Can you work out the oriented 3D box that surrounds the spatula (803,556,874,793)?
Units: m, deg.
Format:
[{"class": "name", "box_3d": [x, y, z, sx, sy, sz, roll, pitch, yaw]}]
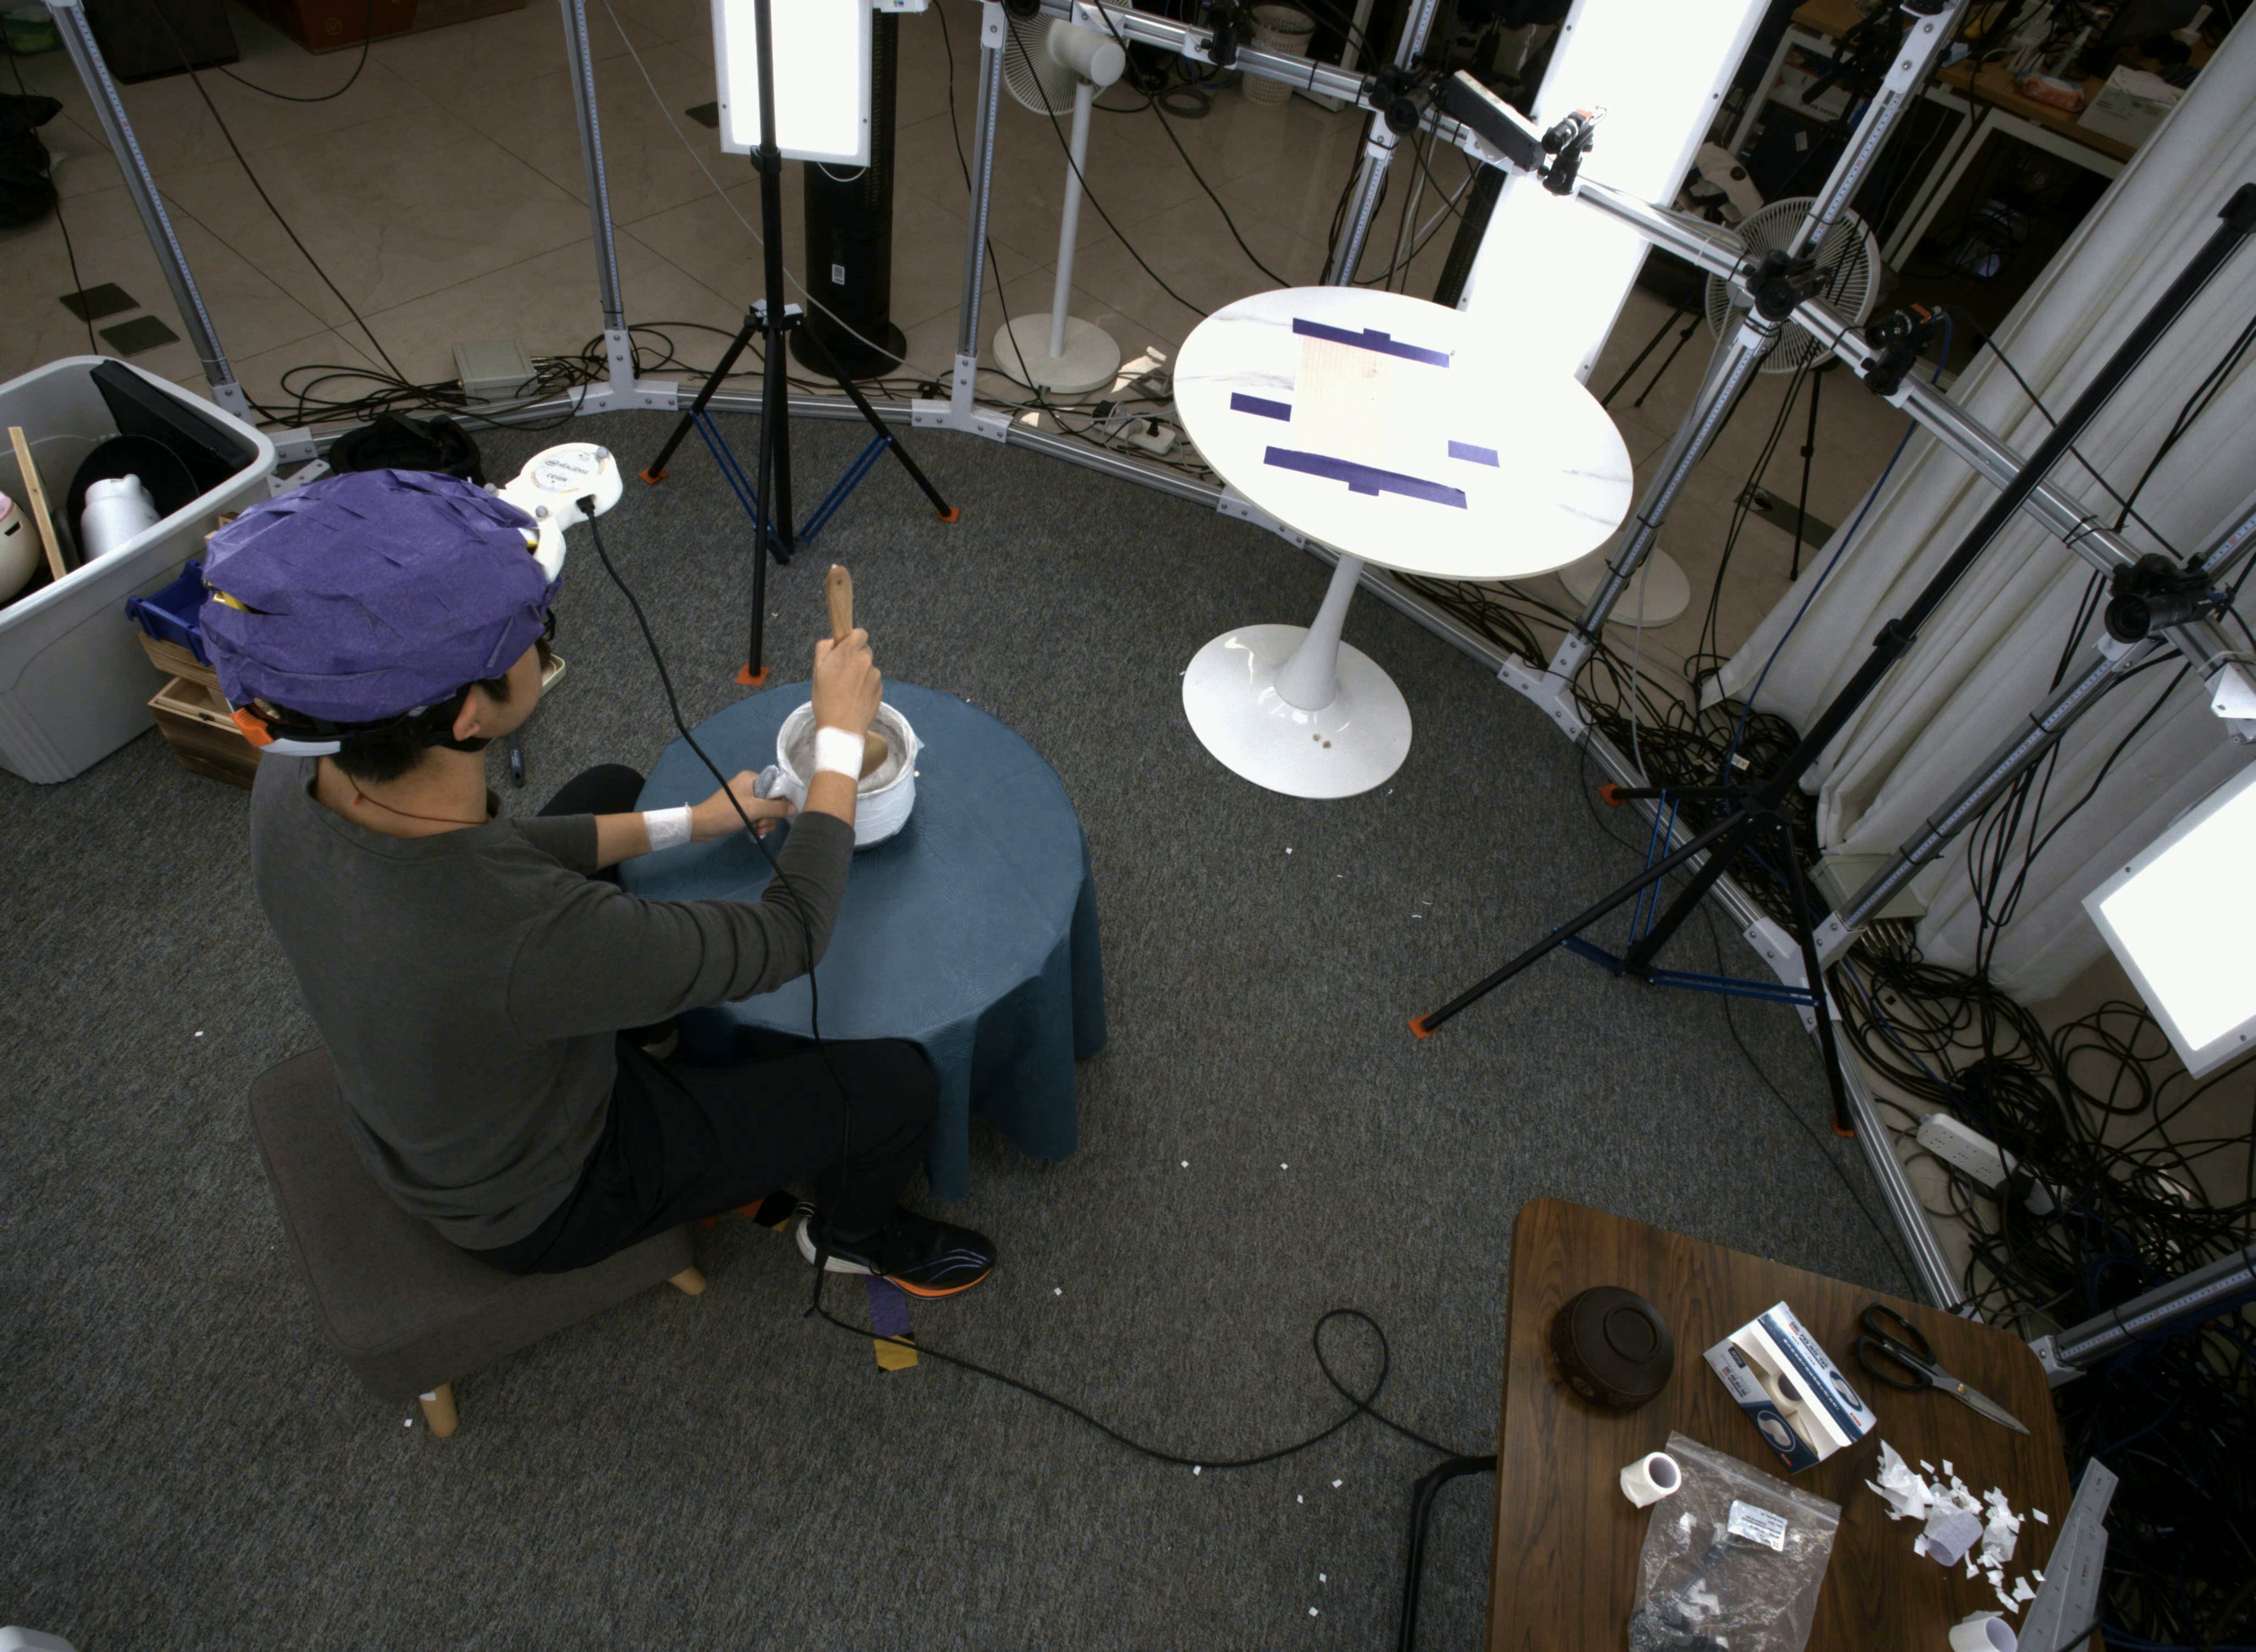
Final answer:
[{"class": "spatula", "box_3d": [-0.353, -0.172, 1.550, 0.096, 0.400, 0.018, -36, 64, -27]}]

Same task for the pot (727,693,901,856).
[{"class": "pot", "box_3d": [-0.411, -0.054, 1.691, 0.235, 0.139, 0.174, -25, 62, -28]}]
